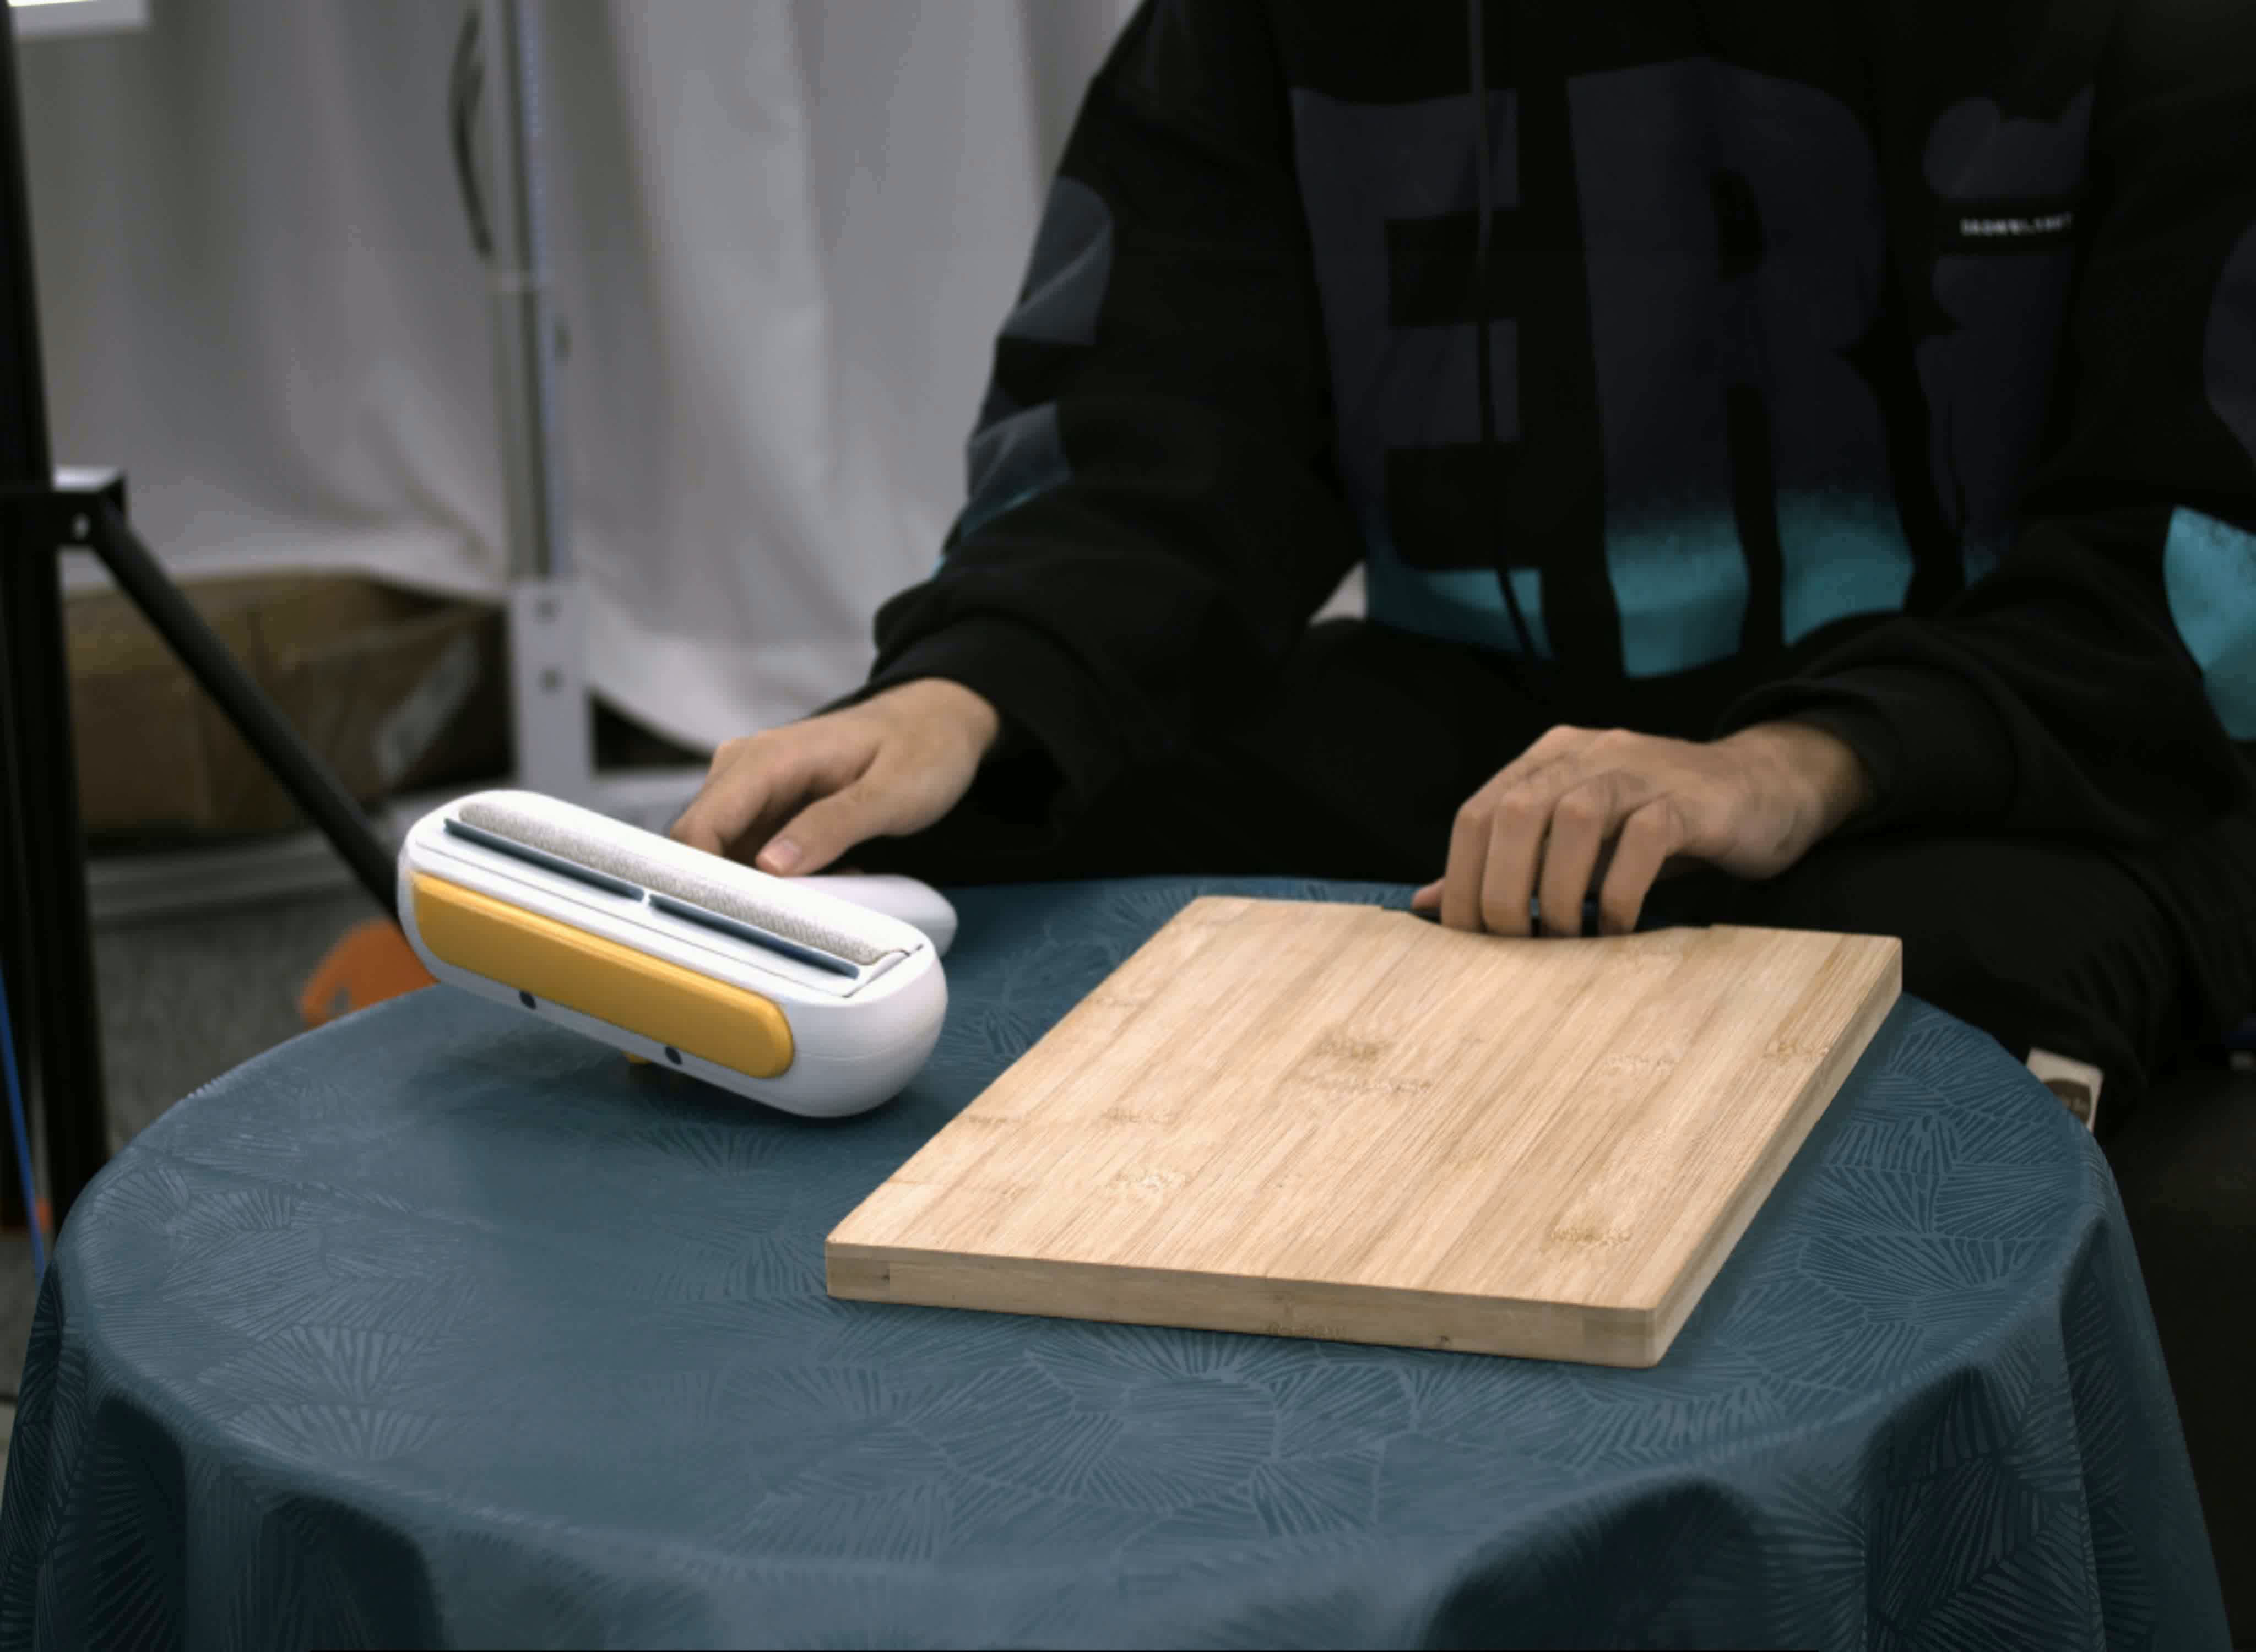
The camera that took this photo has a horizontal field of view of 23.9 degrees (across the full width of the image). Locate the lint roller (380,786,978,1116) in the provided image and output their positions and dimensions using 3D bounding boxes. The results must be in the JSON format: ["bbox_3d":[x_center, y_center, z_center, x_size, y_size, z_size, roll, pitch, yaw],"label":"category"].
[{"bbox_3d":[-0.117,0.032,1.724,0.197,0.074,0.188,15,22,35],"label":"lint roller"}]

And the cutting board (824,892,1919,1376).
[{"bbox_3d":[0.084,0.085,1.598,0.253,0.023,0.345,3,17,19],"label":"cutting board"}]
